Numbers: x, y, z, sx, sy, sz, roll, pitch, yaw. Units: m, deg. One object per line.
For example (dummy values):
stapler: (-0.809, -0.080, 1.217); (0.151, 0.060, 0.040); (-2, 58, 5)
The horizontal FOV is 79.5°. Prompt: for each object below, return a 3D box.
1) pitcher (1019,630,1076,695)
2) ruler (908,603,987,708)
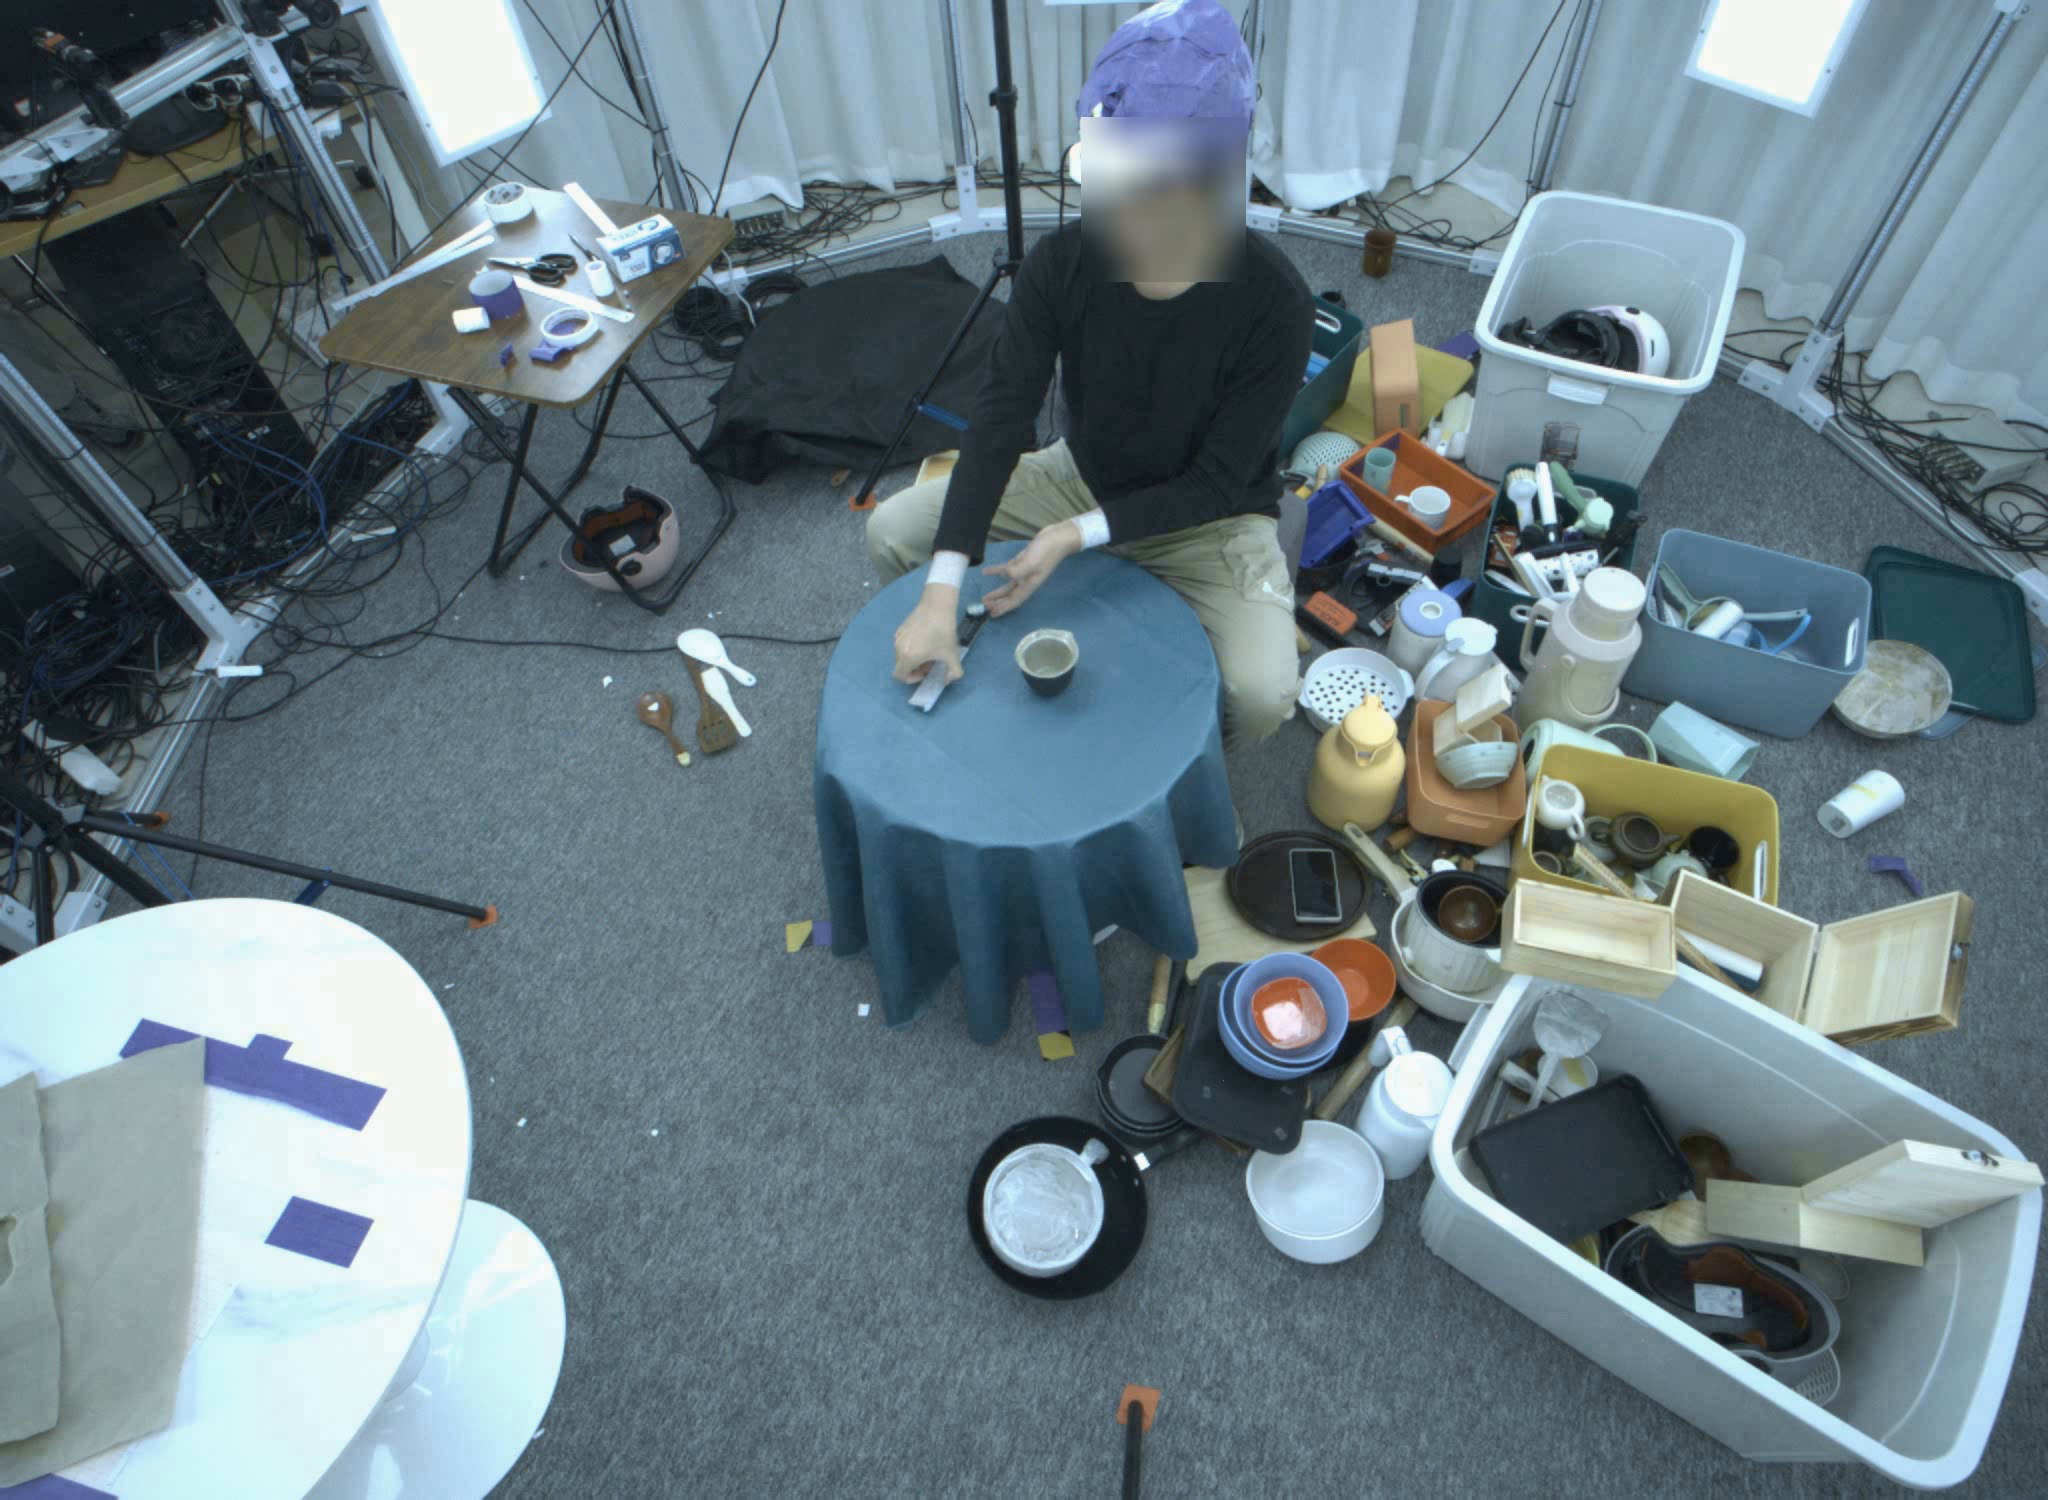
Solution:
pitcher: (0.039, -0.126, 1.831); (0.082, 0.072, 0.096); (33, 63, 25)
ruler: (-0.115, -0.148, 1.875); (0.038, 0.024, 0.218); (14, 51, 21)
